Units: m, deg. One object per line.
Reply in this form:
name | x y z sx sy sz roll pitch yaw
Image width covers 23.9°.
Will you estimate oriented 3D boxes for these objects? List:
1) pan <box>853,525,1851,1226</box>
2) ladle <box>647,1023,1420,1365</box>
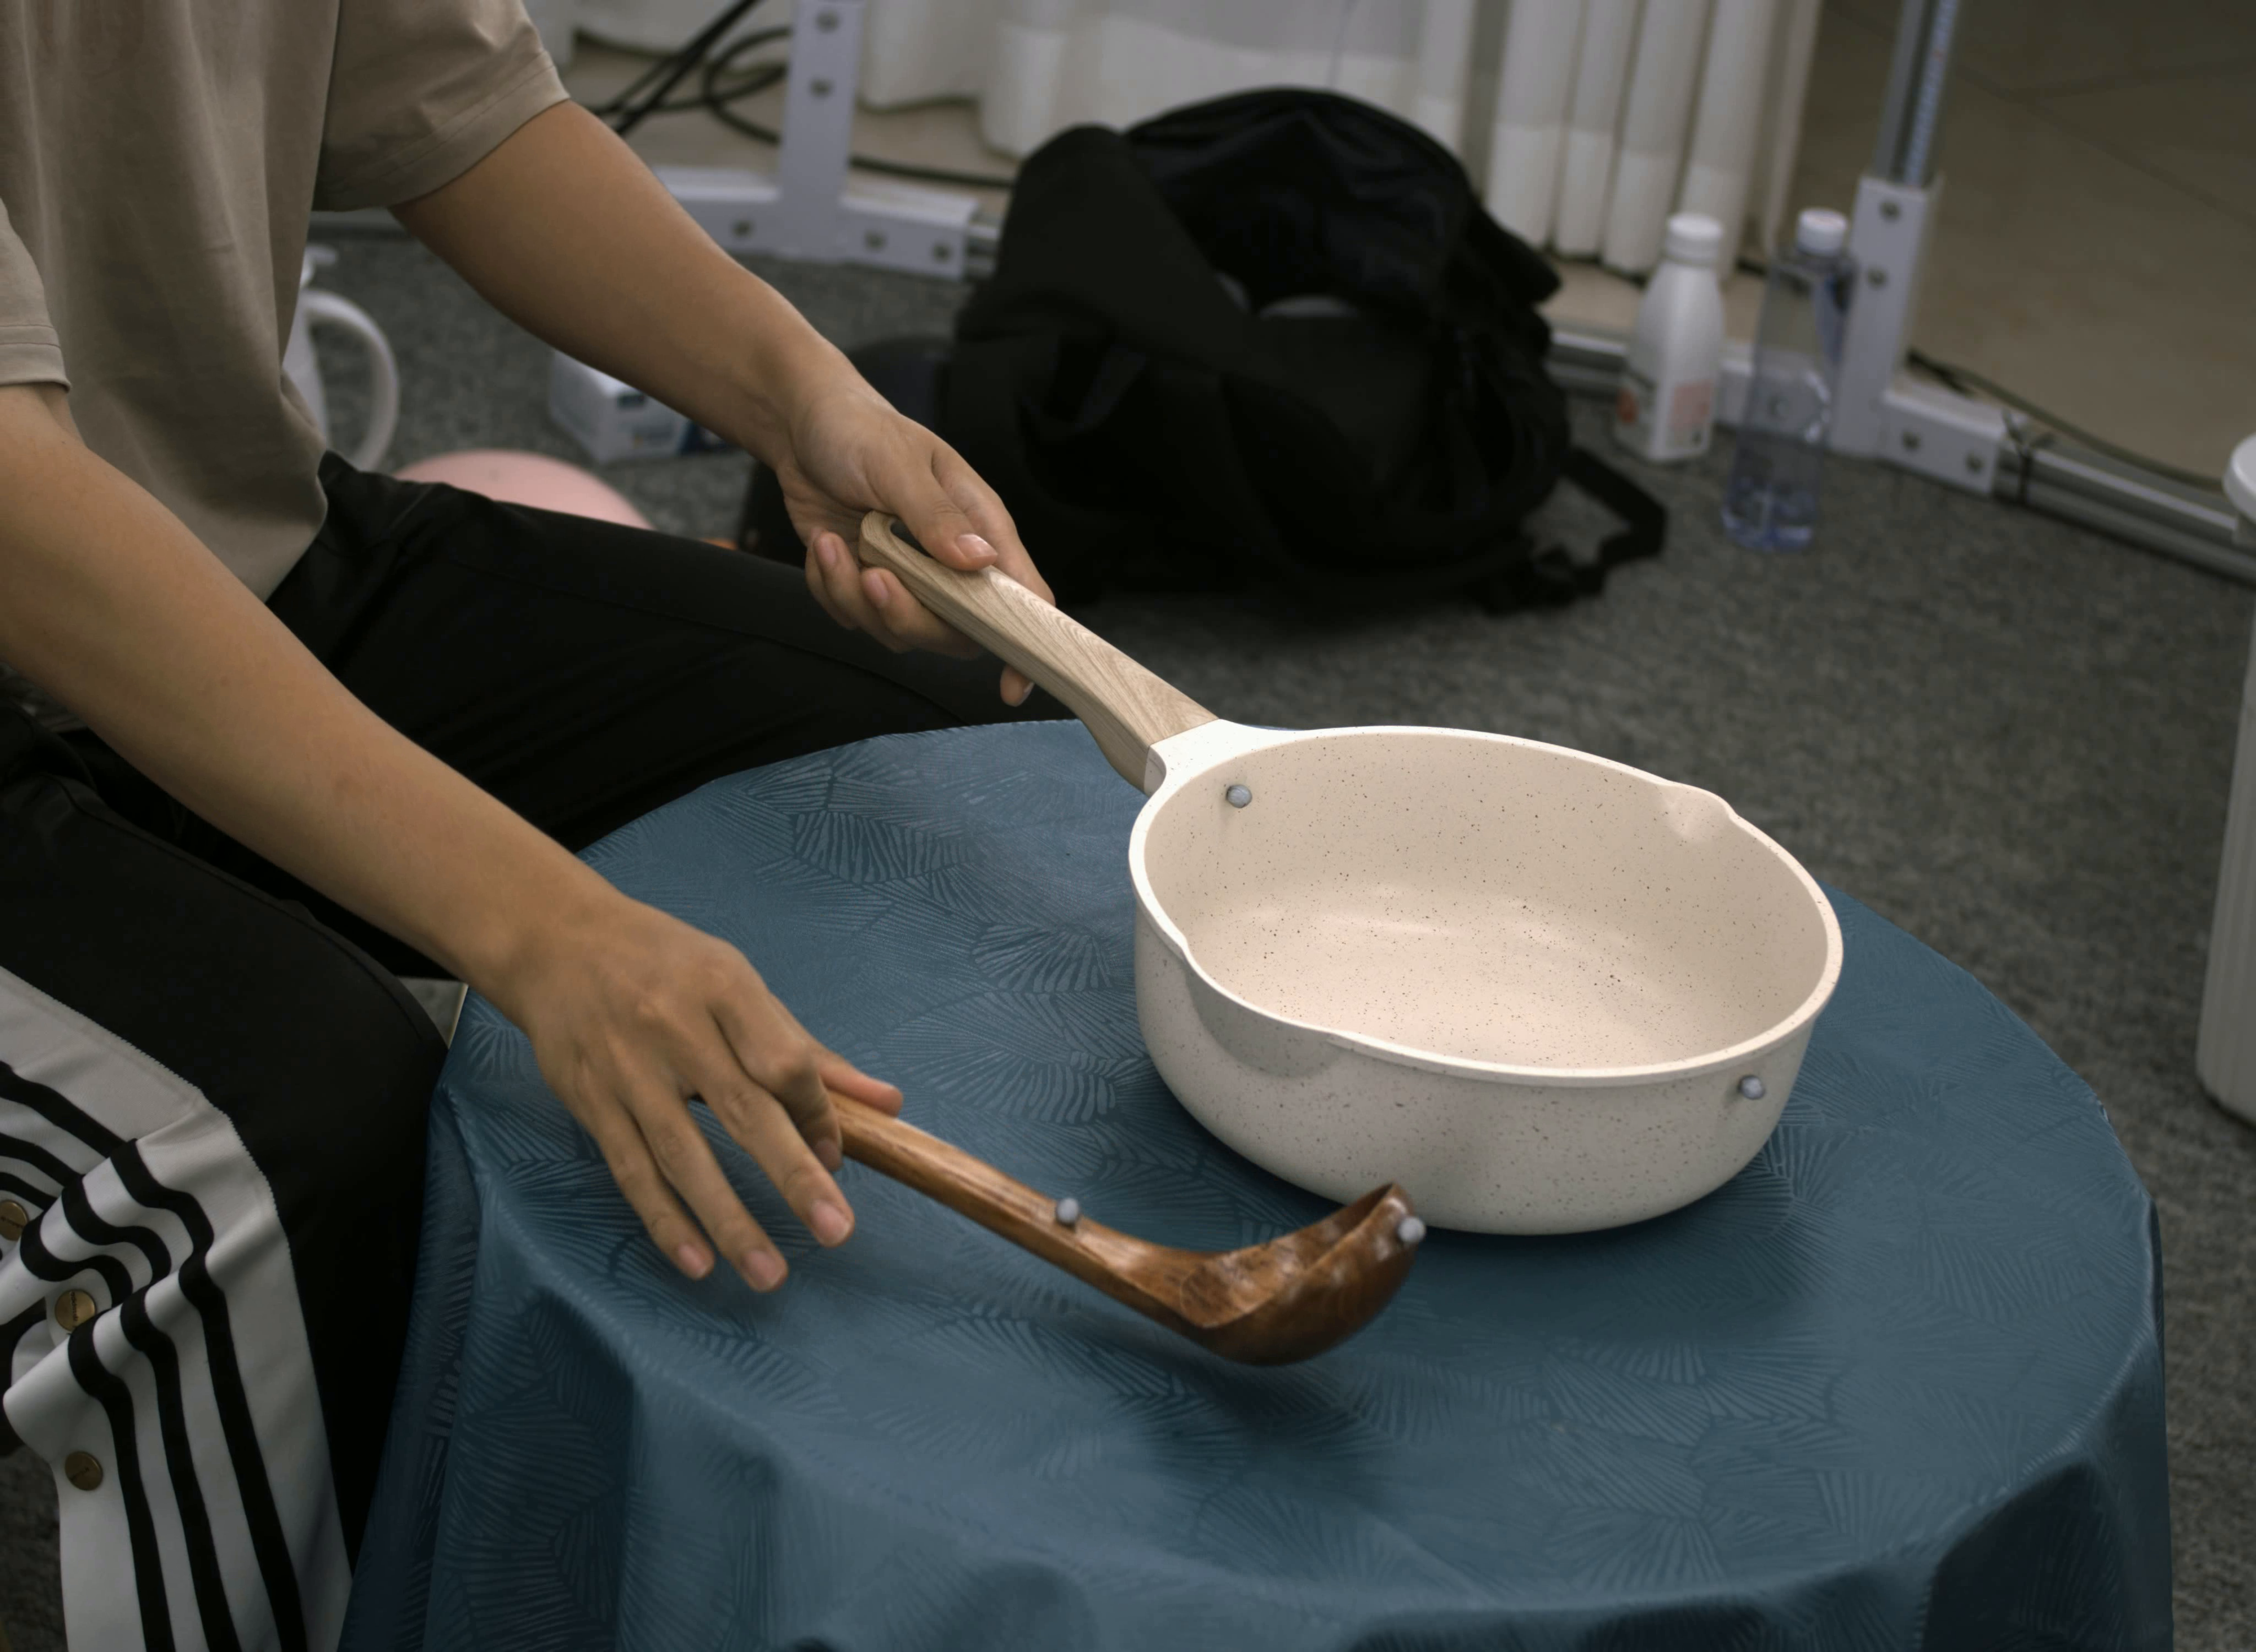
pan | 0.057 0.013 1.925 0.438 0.101 0.262 28 35 35
ladle | -0.034 0.100 1.713 0.275 0.076 0.082 25 28 20
